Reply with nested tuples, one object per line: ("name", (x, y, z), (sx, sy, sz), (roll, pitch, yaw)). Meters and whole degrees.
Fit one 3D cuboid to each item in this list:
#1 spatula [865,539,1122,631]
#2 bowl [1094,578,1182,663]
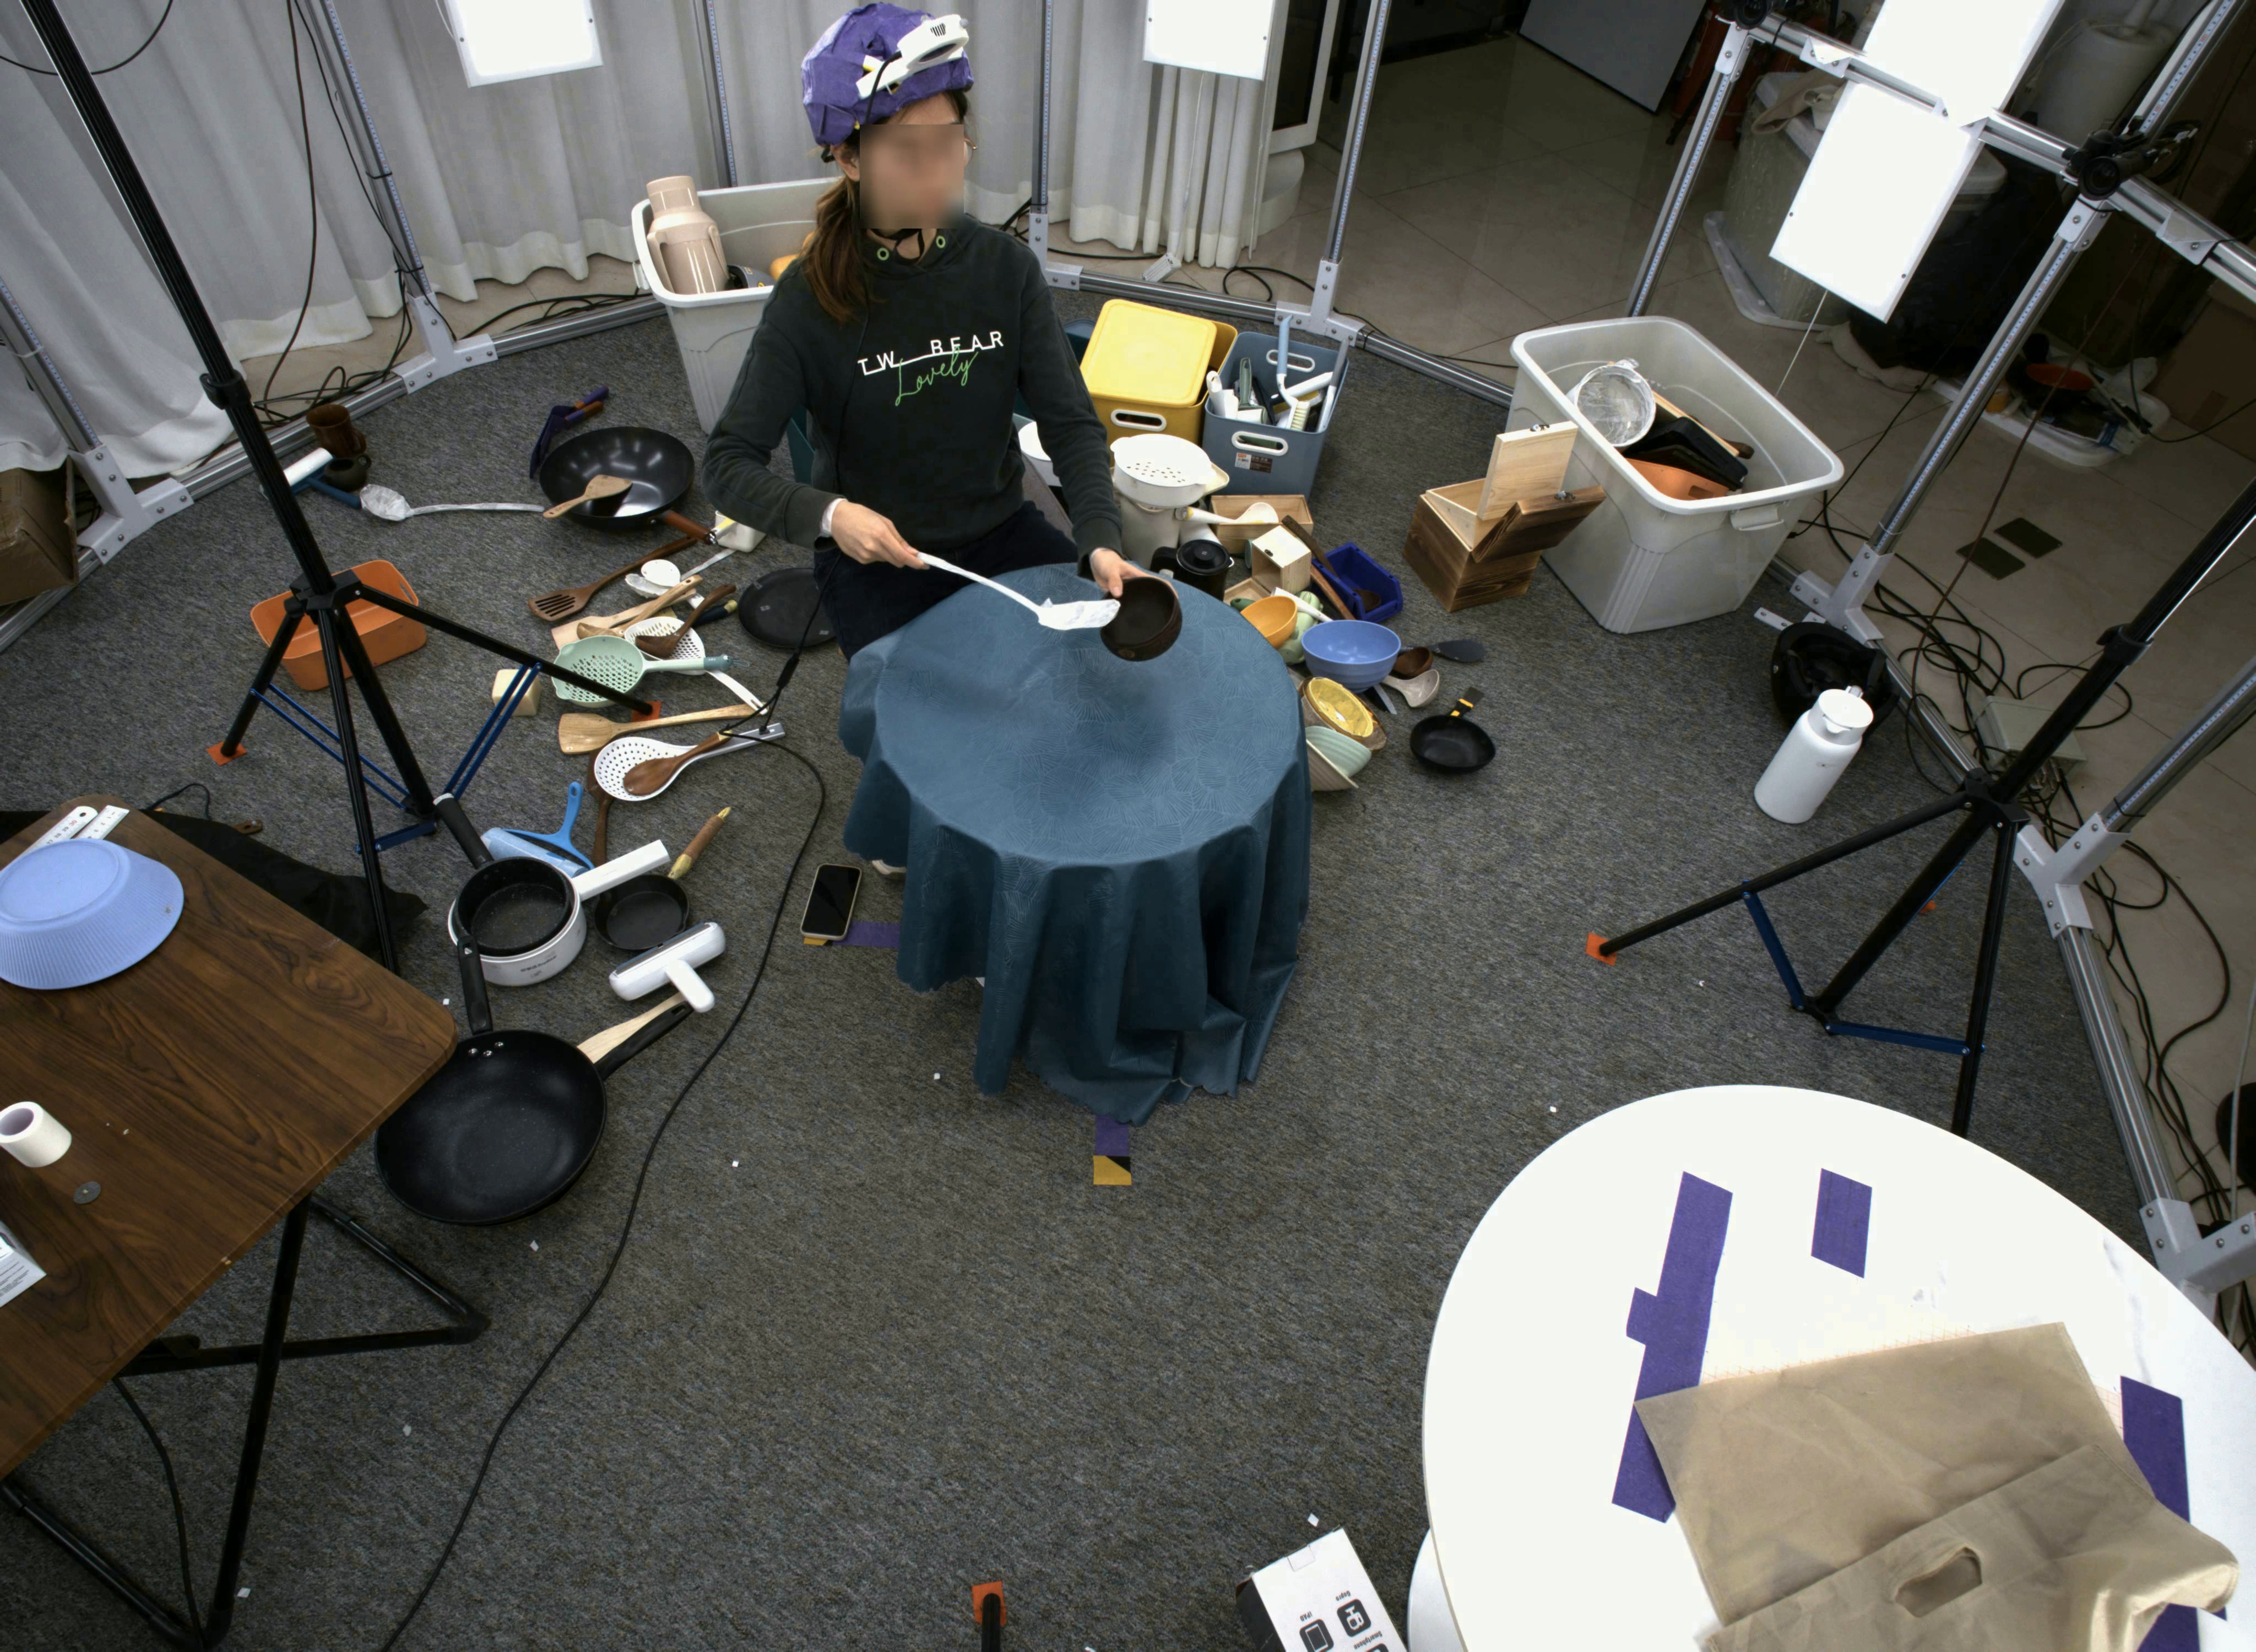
("spatula", (-0.185, -0.325, 1.699), (0.366, 0.044, 0.100), (23, 37, 8))
("bowl", (0.019, -0.274, 1.766), (0.118, 0.068, 0.121), (-10, 55, 14))
